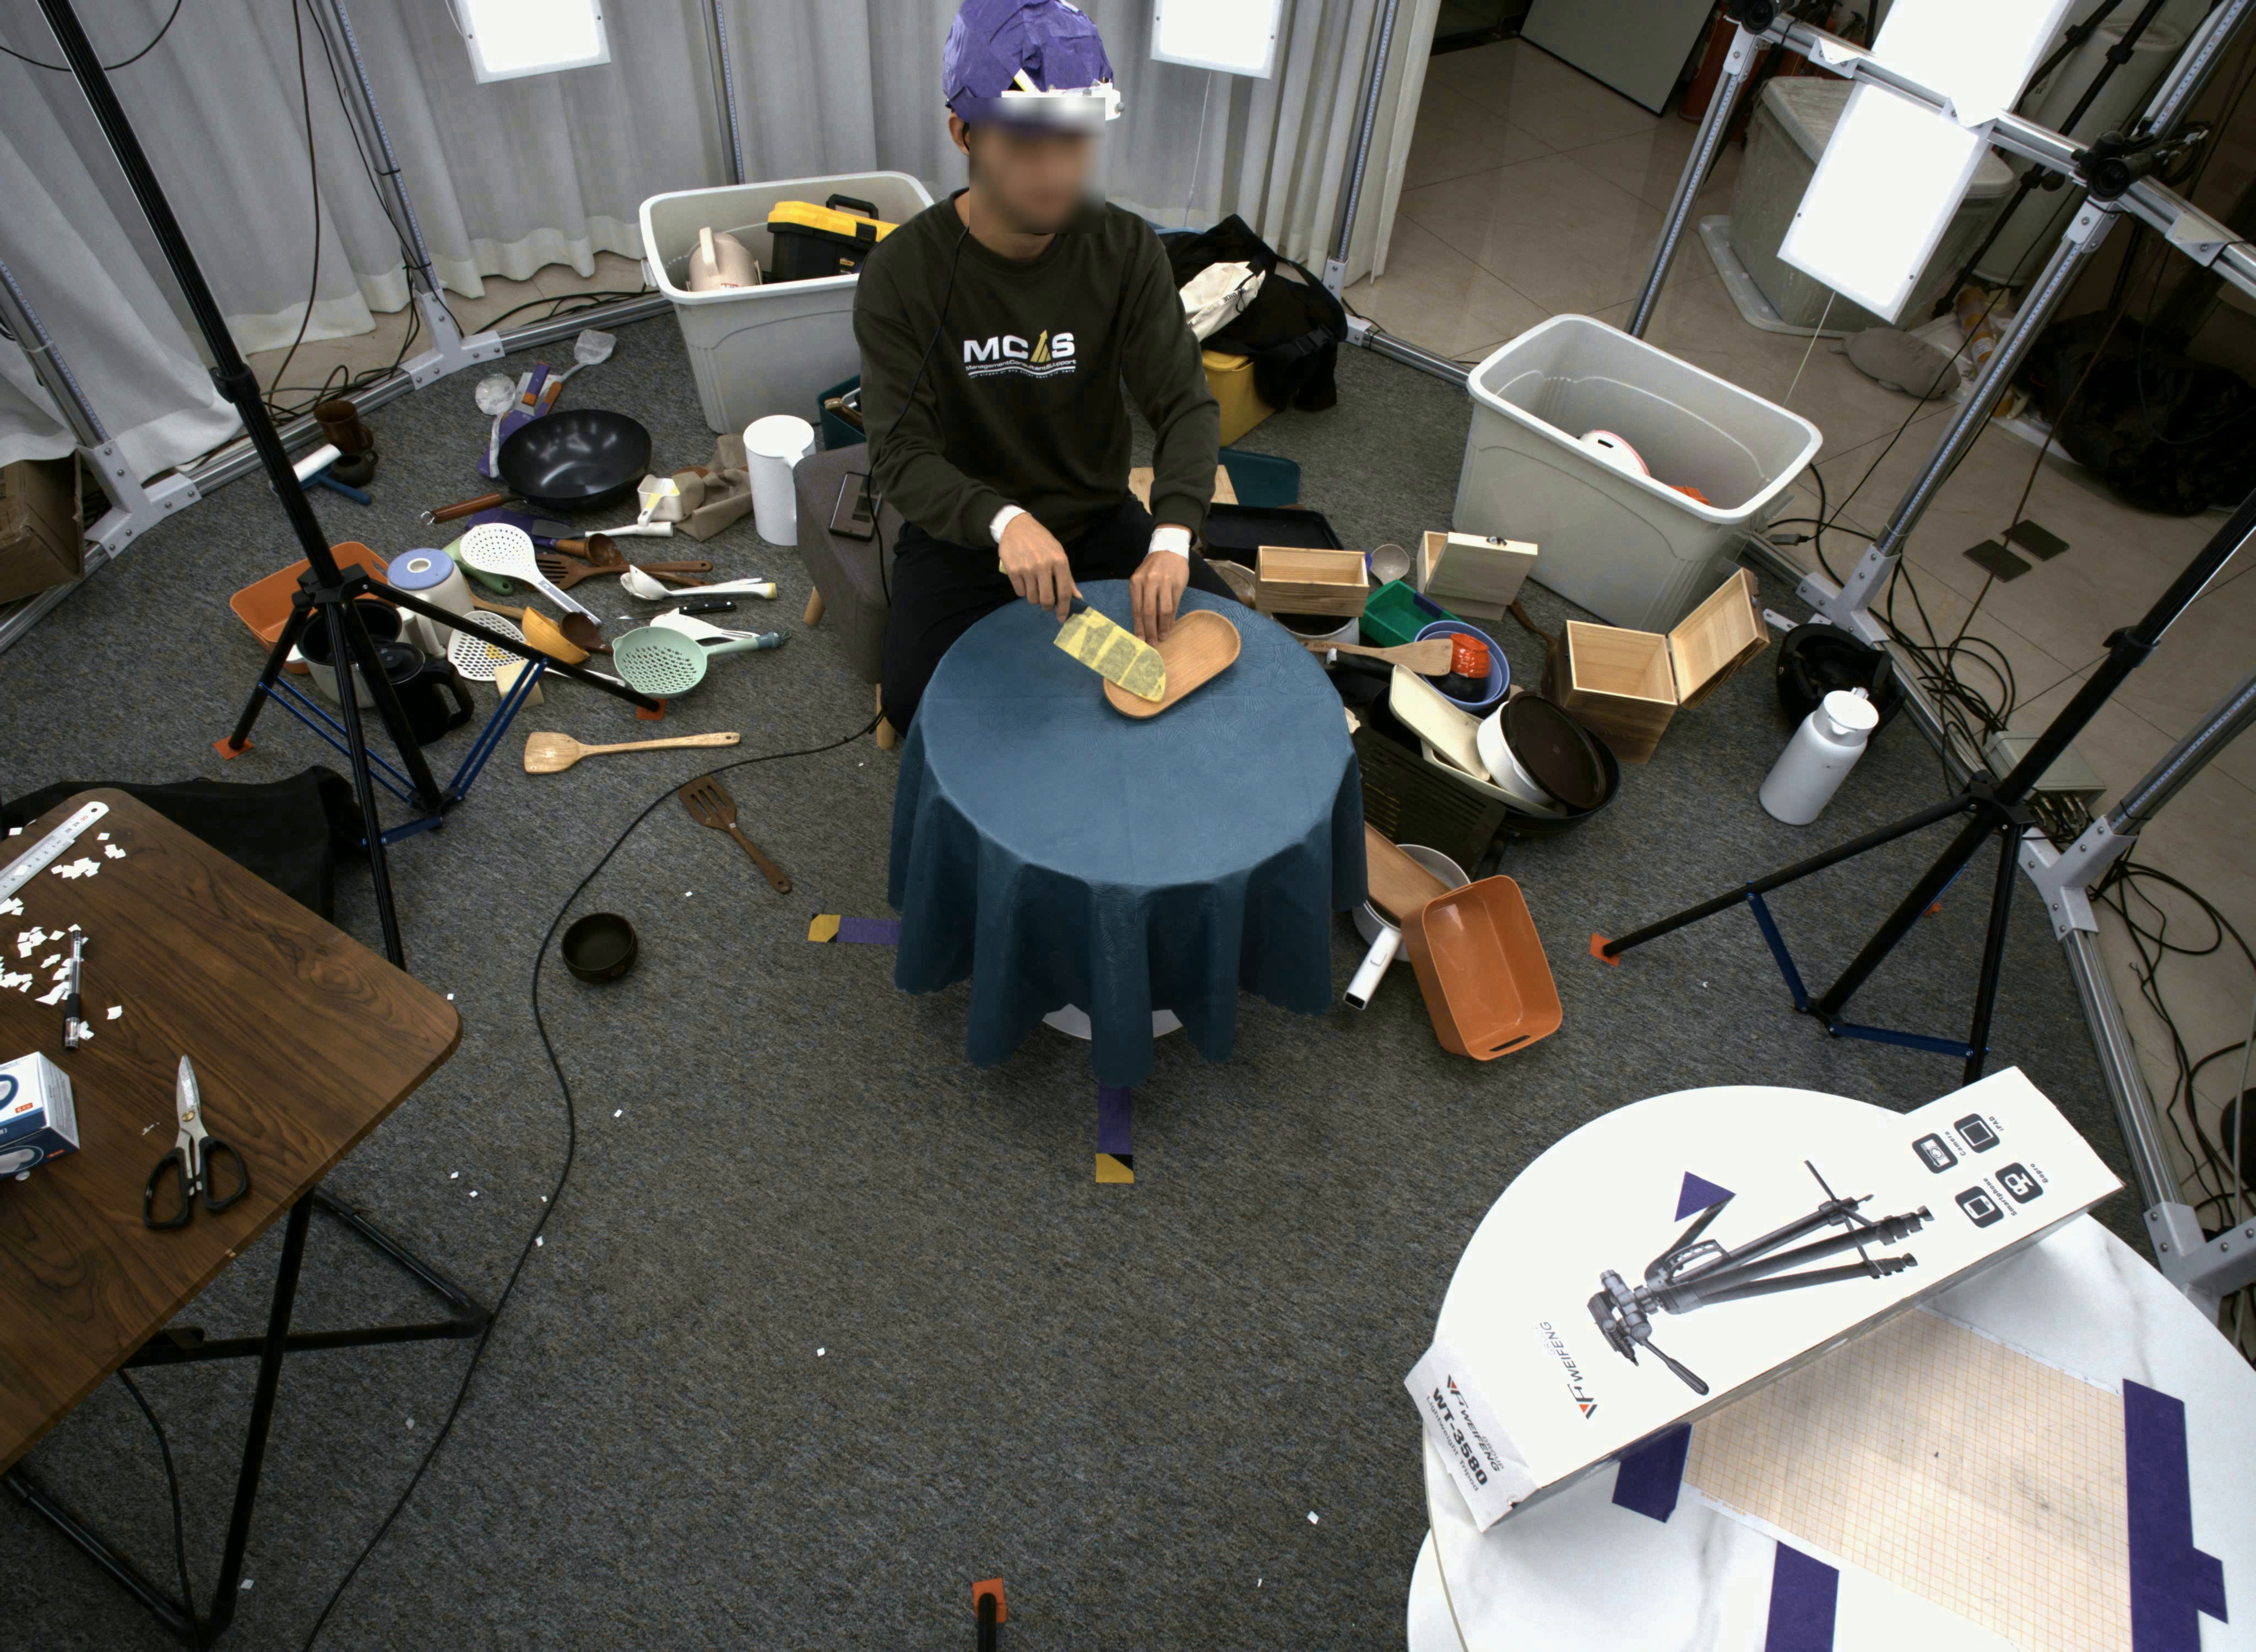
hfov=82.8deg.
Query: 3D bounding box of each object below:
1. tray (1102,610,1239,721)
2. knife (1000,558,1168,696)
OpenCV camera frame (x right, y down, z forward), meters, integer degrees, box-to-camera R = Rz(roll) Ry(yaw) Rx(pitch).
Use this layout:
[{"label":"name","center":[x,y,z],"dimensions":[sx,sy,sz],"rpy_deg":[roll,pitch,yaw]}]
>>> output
[{"label":"tray","center":[0.062,-0.231,1.837],"dimensions":[0.233,0.020,0.103],"rpy_deg":[-36,75,-21]},{"label":"knife","center":[-0.063,-0.274,1.786],"dimensions":[0.289,0.080,0.027],"rpy_deg":[35,17,-4]}]
